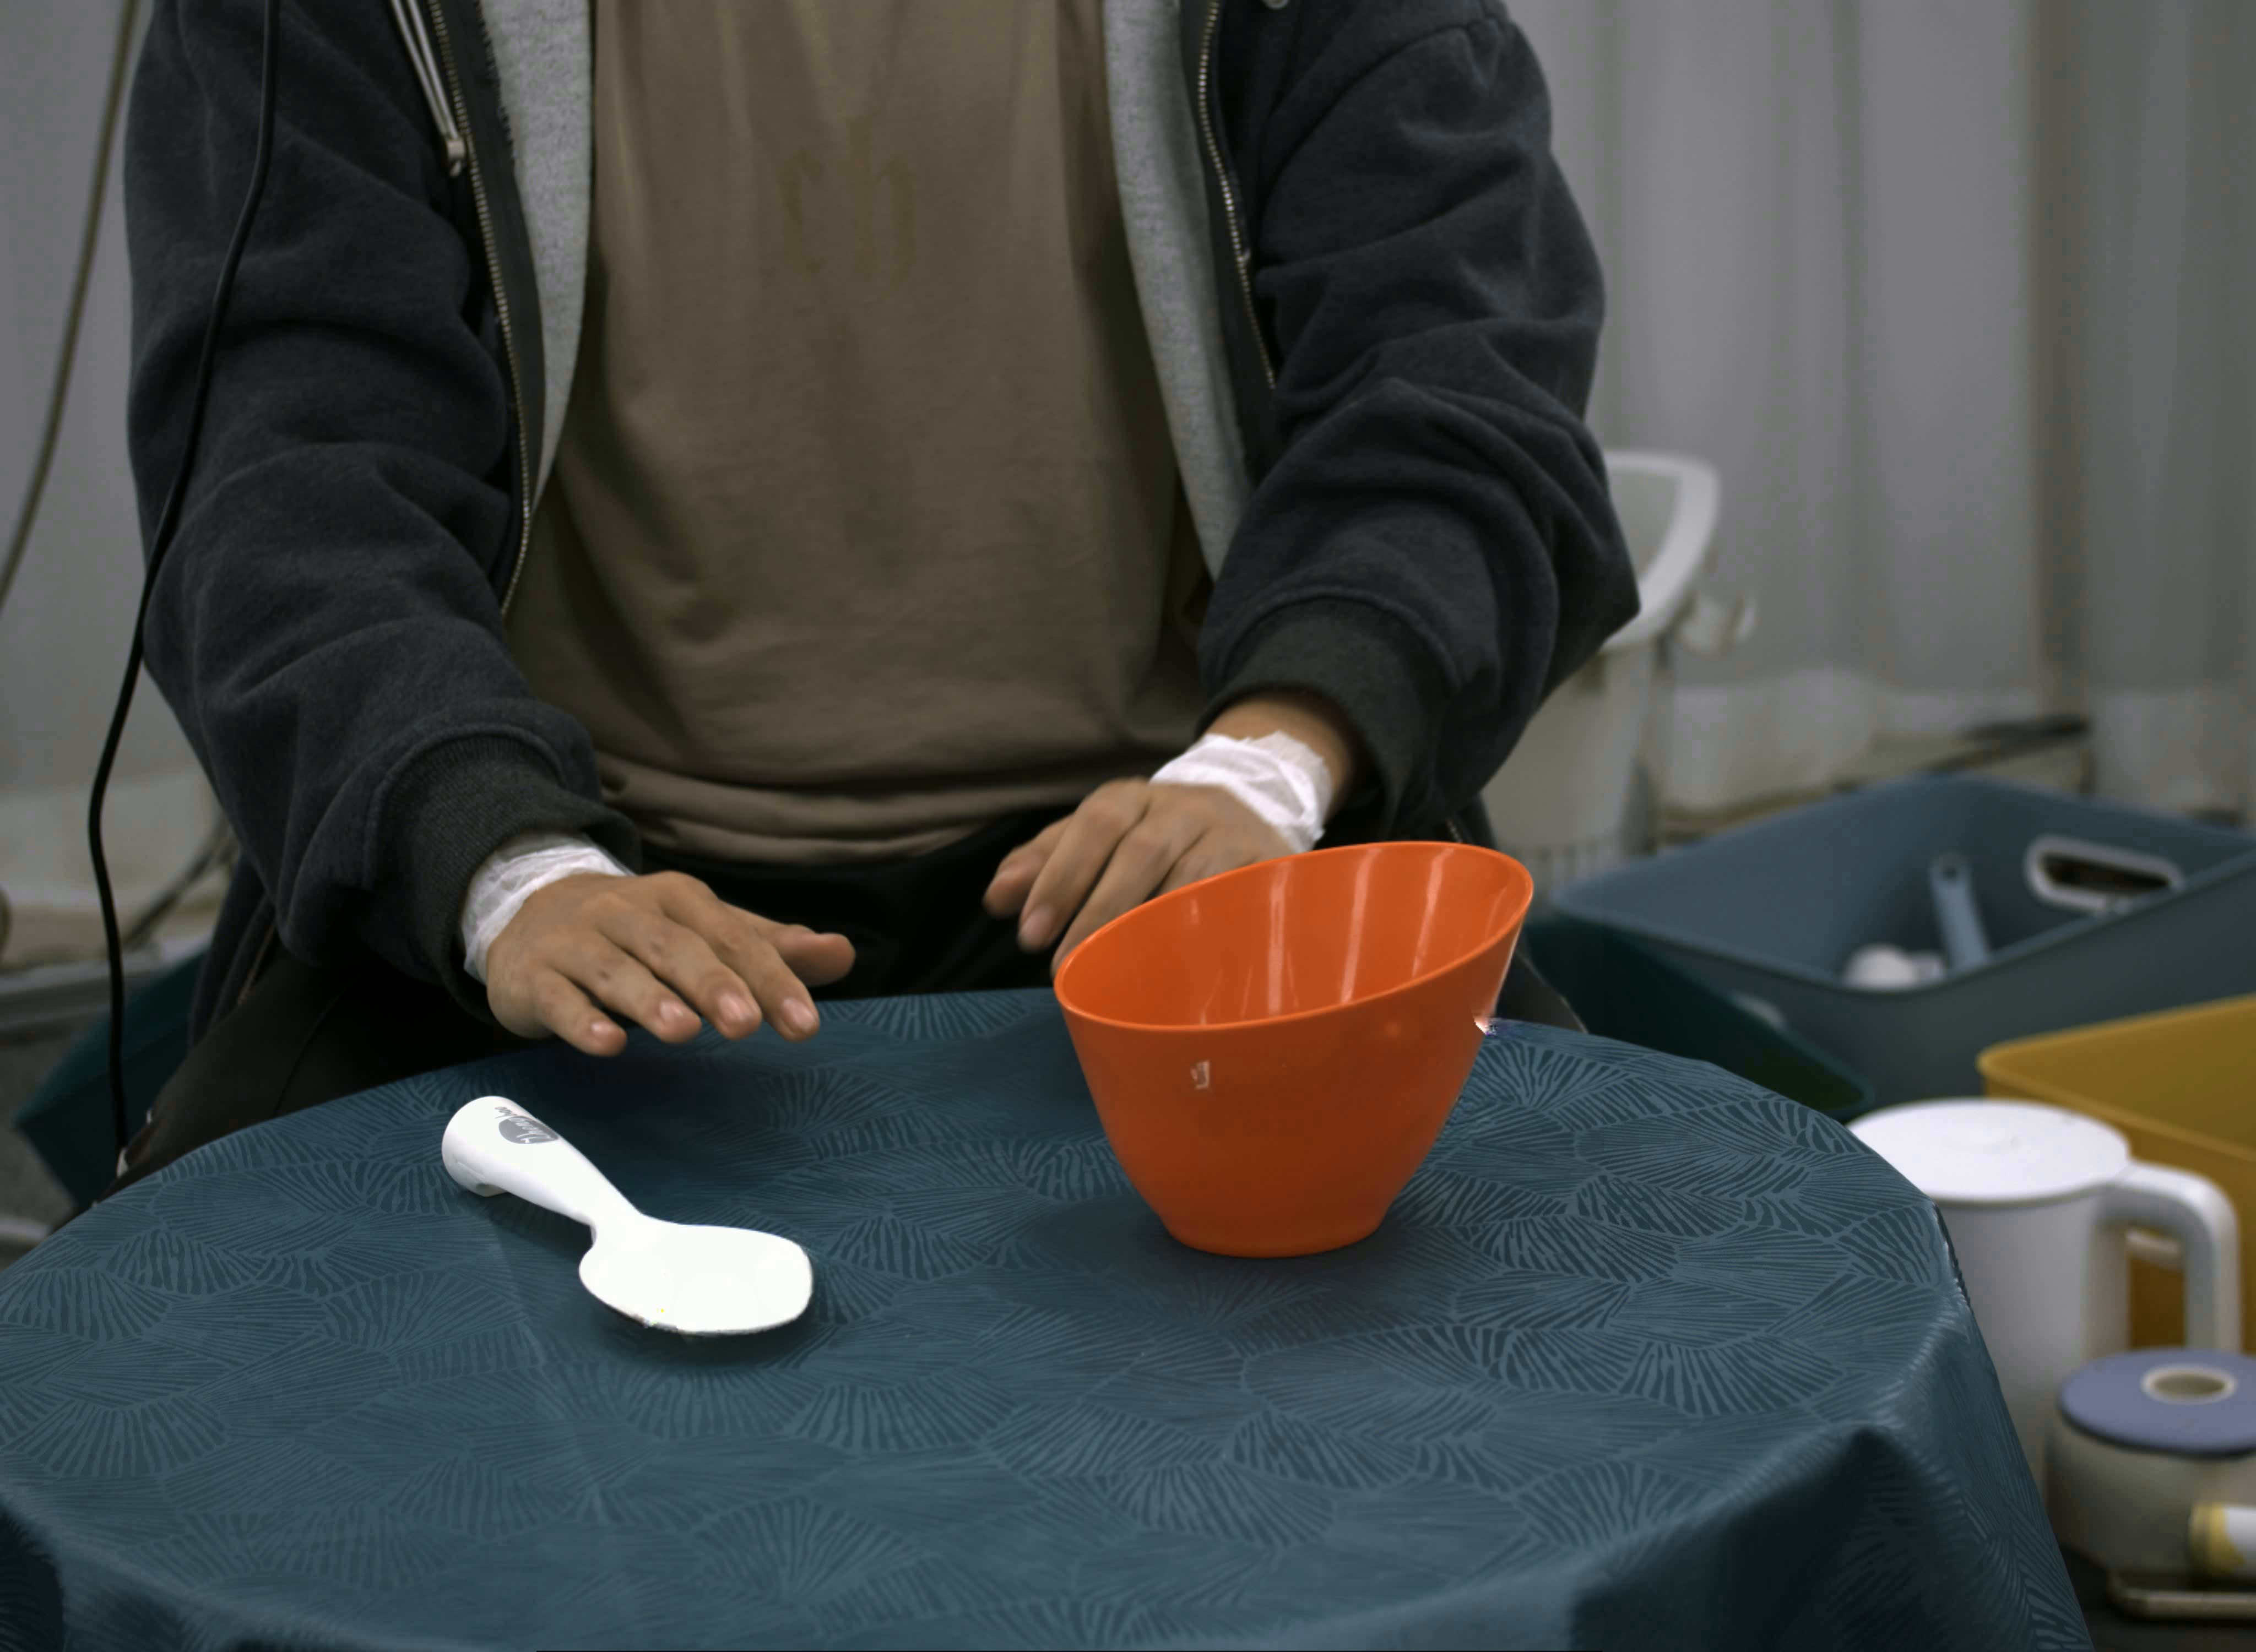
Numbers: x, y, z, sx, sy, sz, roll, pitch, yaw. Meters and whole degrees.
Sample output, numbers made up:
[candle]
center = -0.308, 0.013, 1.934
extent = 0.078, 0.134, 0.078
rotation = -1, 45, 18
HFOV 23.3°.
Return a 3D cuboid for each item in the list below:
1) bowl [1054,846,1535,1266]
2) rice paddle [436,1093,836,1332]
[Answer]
[bowl]
center = 0.053, 0.073, 1.669
extent = 0.147, 0.104, 0.149
rotation = -4, 15, 1
[rice paddle]
center = -0.154, 0.120, 1.668
extent = 0.068, 0.029, 0.207
rotation = -13, 18, -29
